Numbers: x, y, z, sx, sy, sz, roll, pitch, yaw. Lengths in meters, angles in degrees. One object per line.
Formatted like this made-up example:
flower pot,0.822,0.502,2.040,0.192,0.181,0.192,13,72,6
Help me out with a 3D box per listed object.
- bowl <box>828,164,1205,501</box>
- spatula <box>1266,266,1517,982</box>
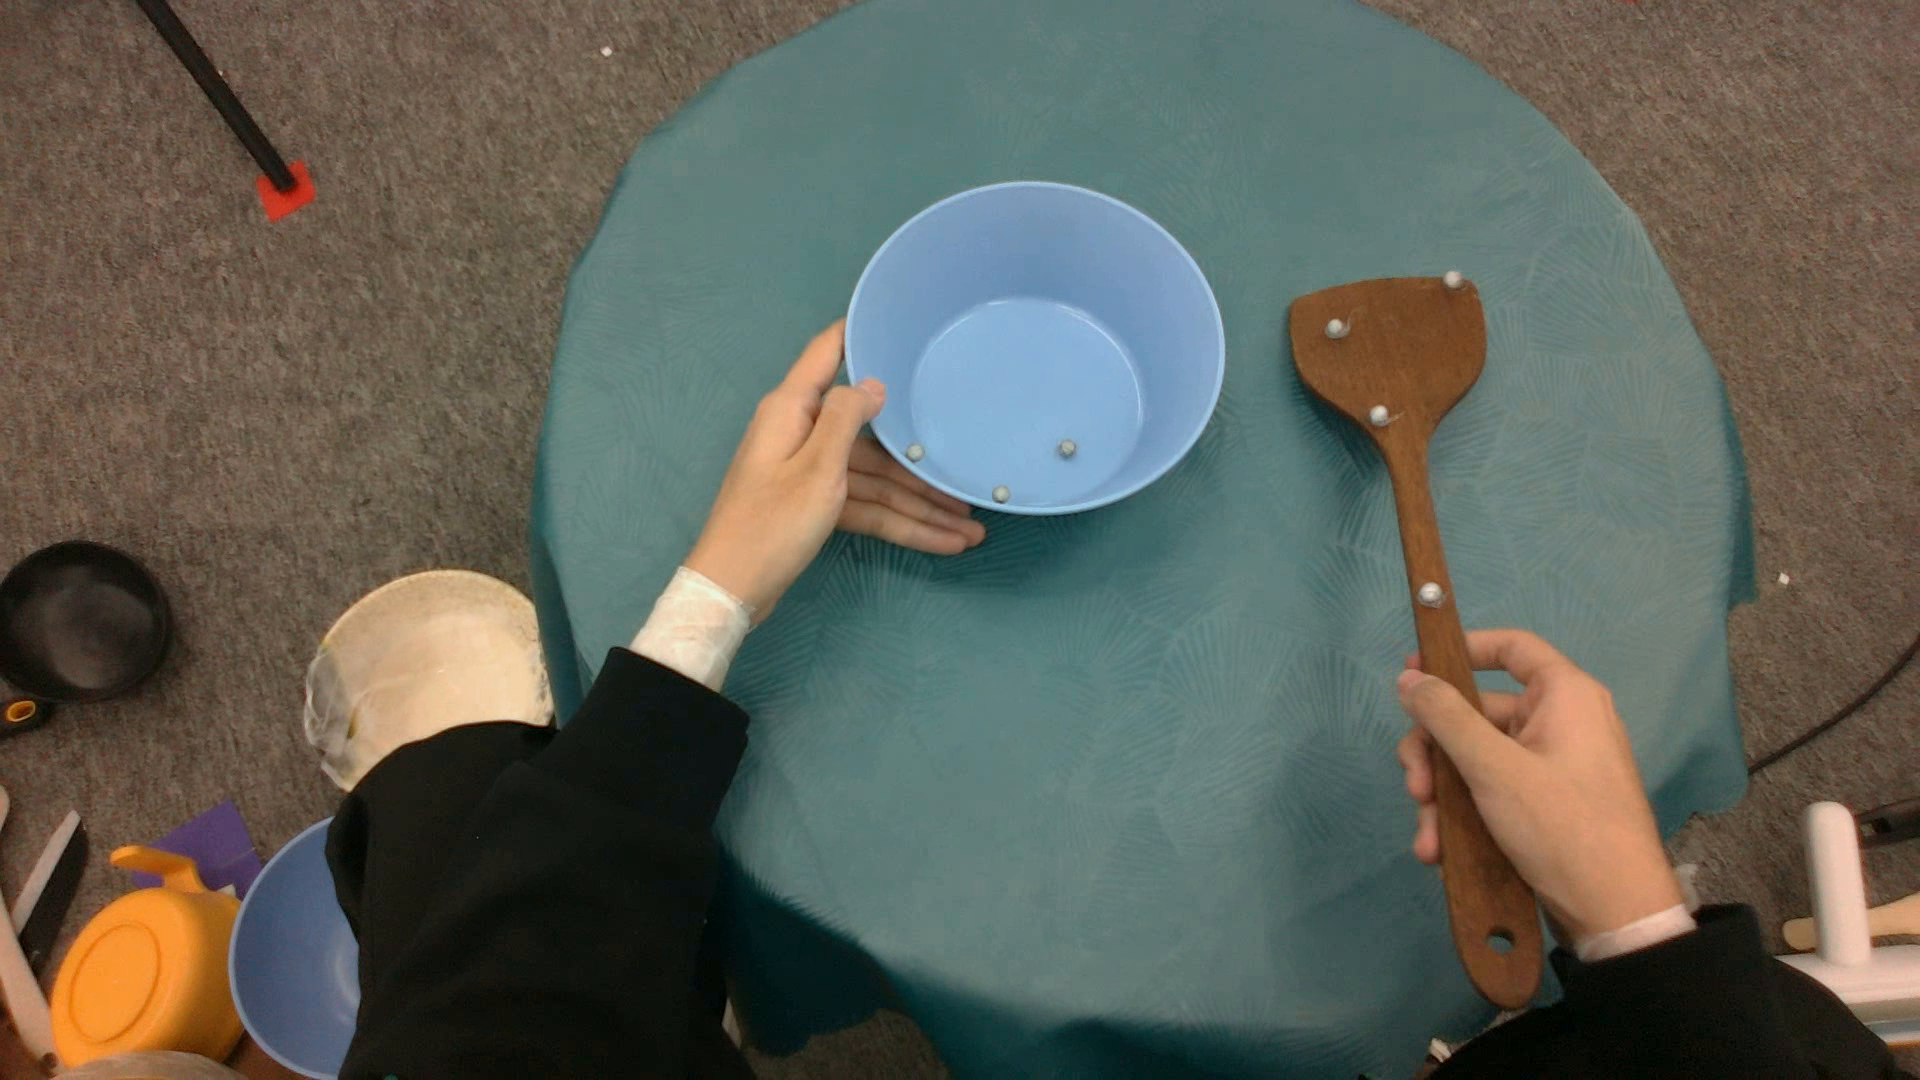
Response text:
bowl,0.026,-0.089,0.667,0.176,0.070,0.176,1,69,-1
spatula,0.195,0.005,0.602,0.096,0.016,0.388,-4,48,11
